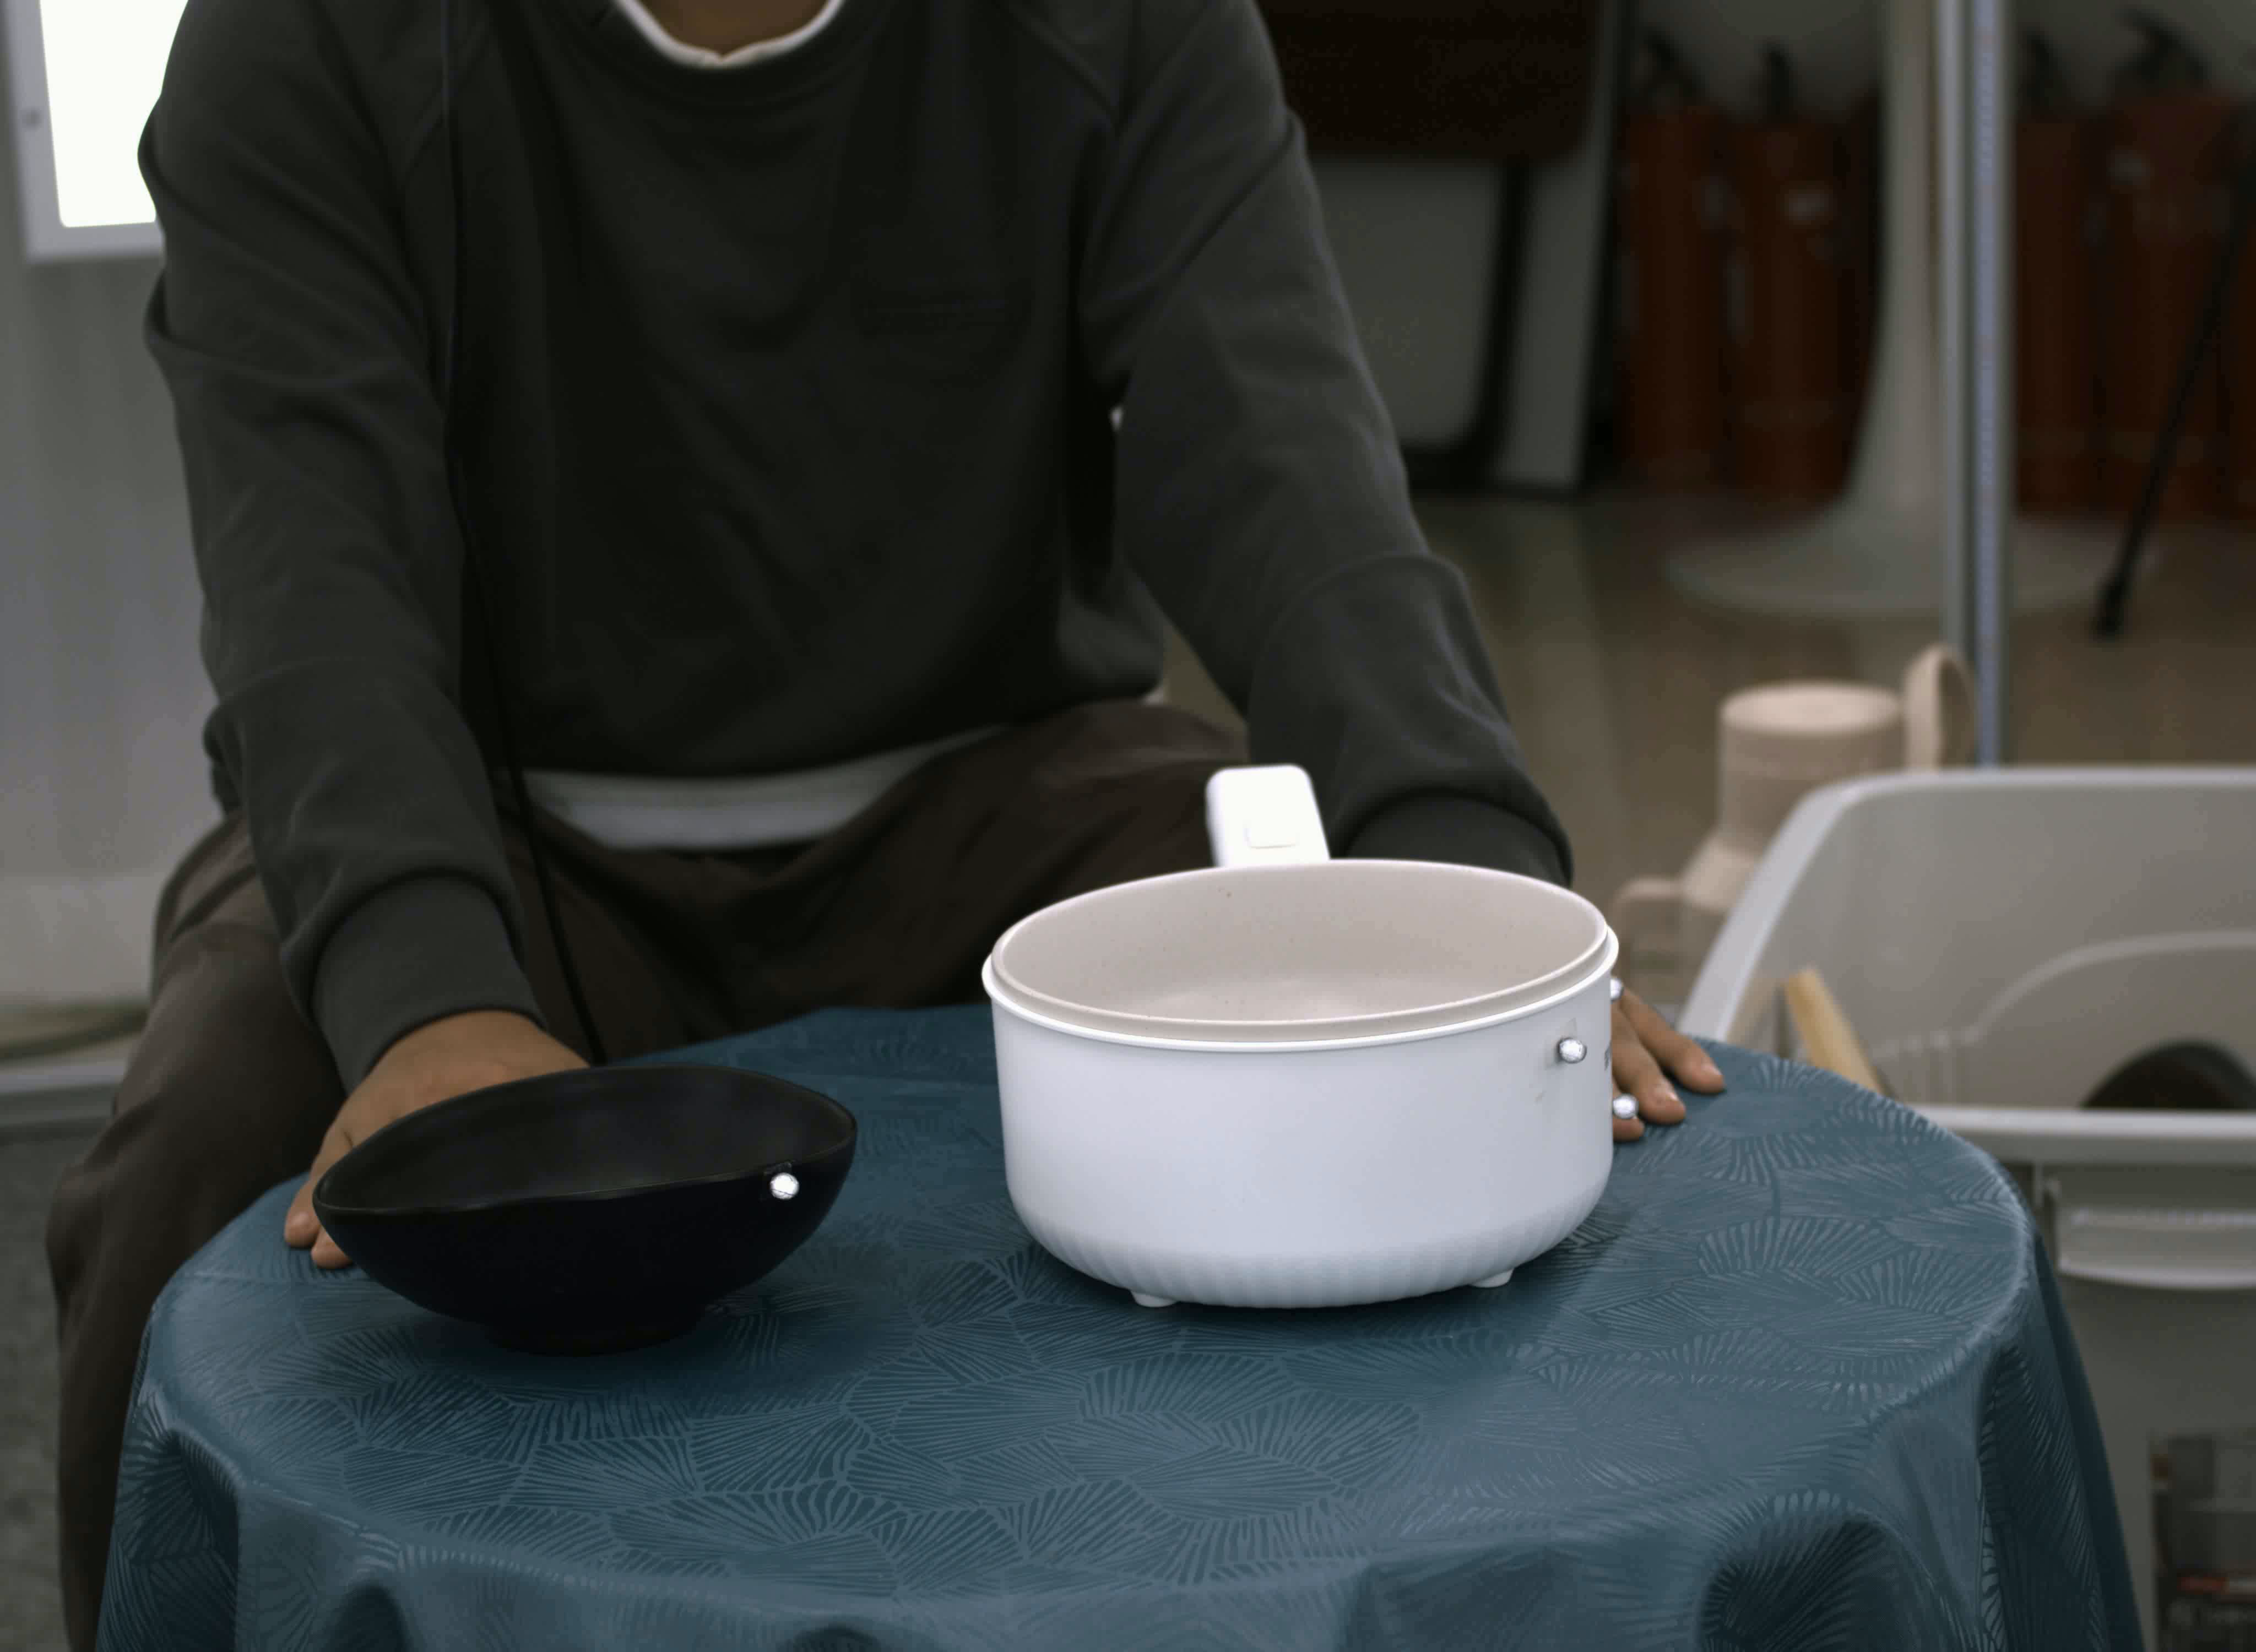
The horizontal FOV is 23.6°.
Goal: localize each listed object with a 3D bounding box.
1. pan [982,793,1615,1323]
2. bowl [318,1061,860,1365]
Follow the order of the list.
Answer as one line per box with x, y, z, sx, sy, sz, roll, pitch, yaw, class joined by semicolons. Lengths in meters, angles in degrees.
0.055;0.071;1.777;0.198;0.103;0.355;-6;12;0;pan
-0.164;0.125;1.670;0.167;0.067;0.138;-7;13;-6;bowl
